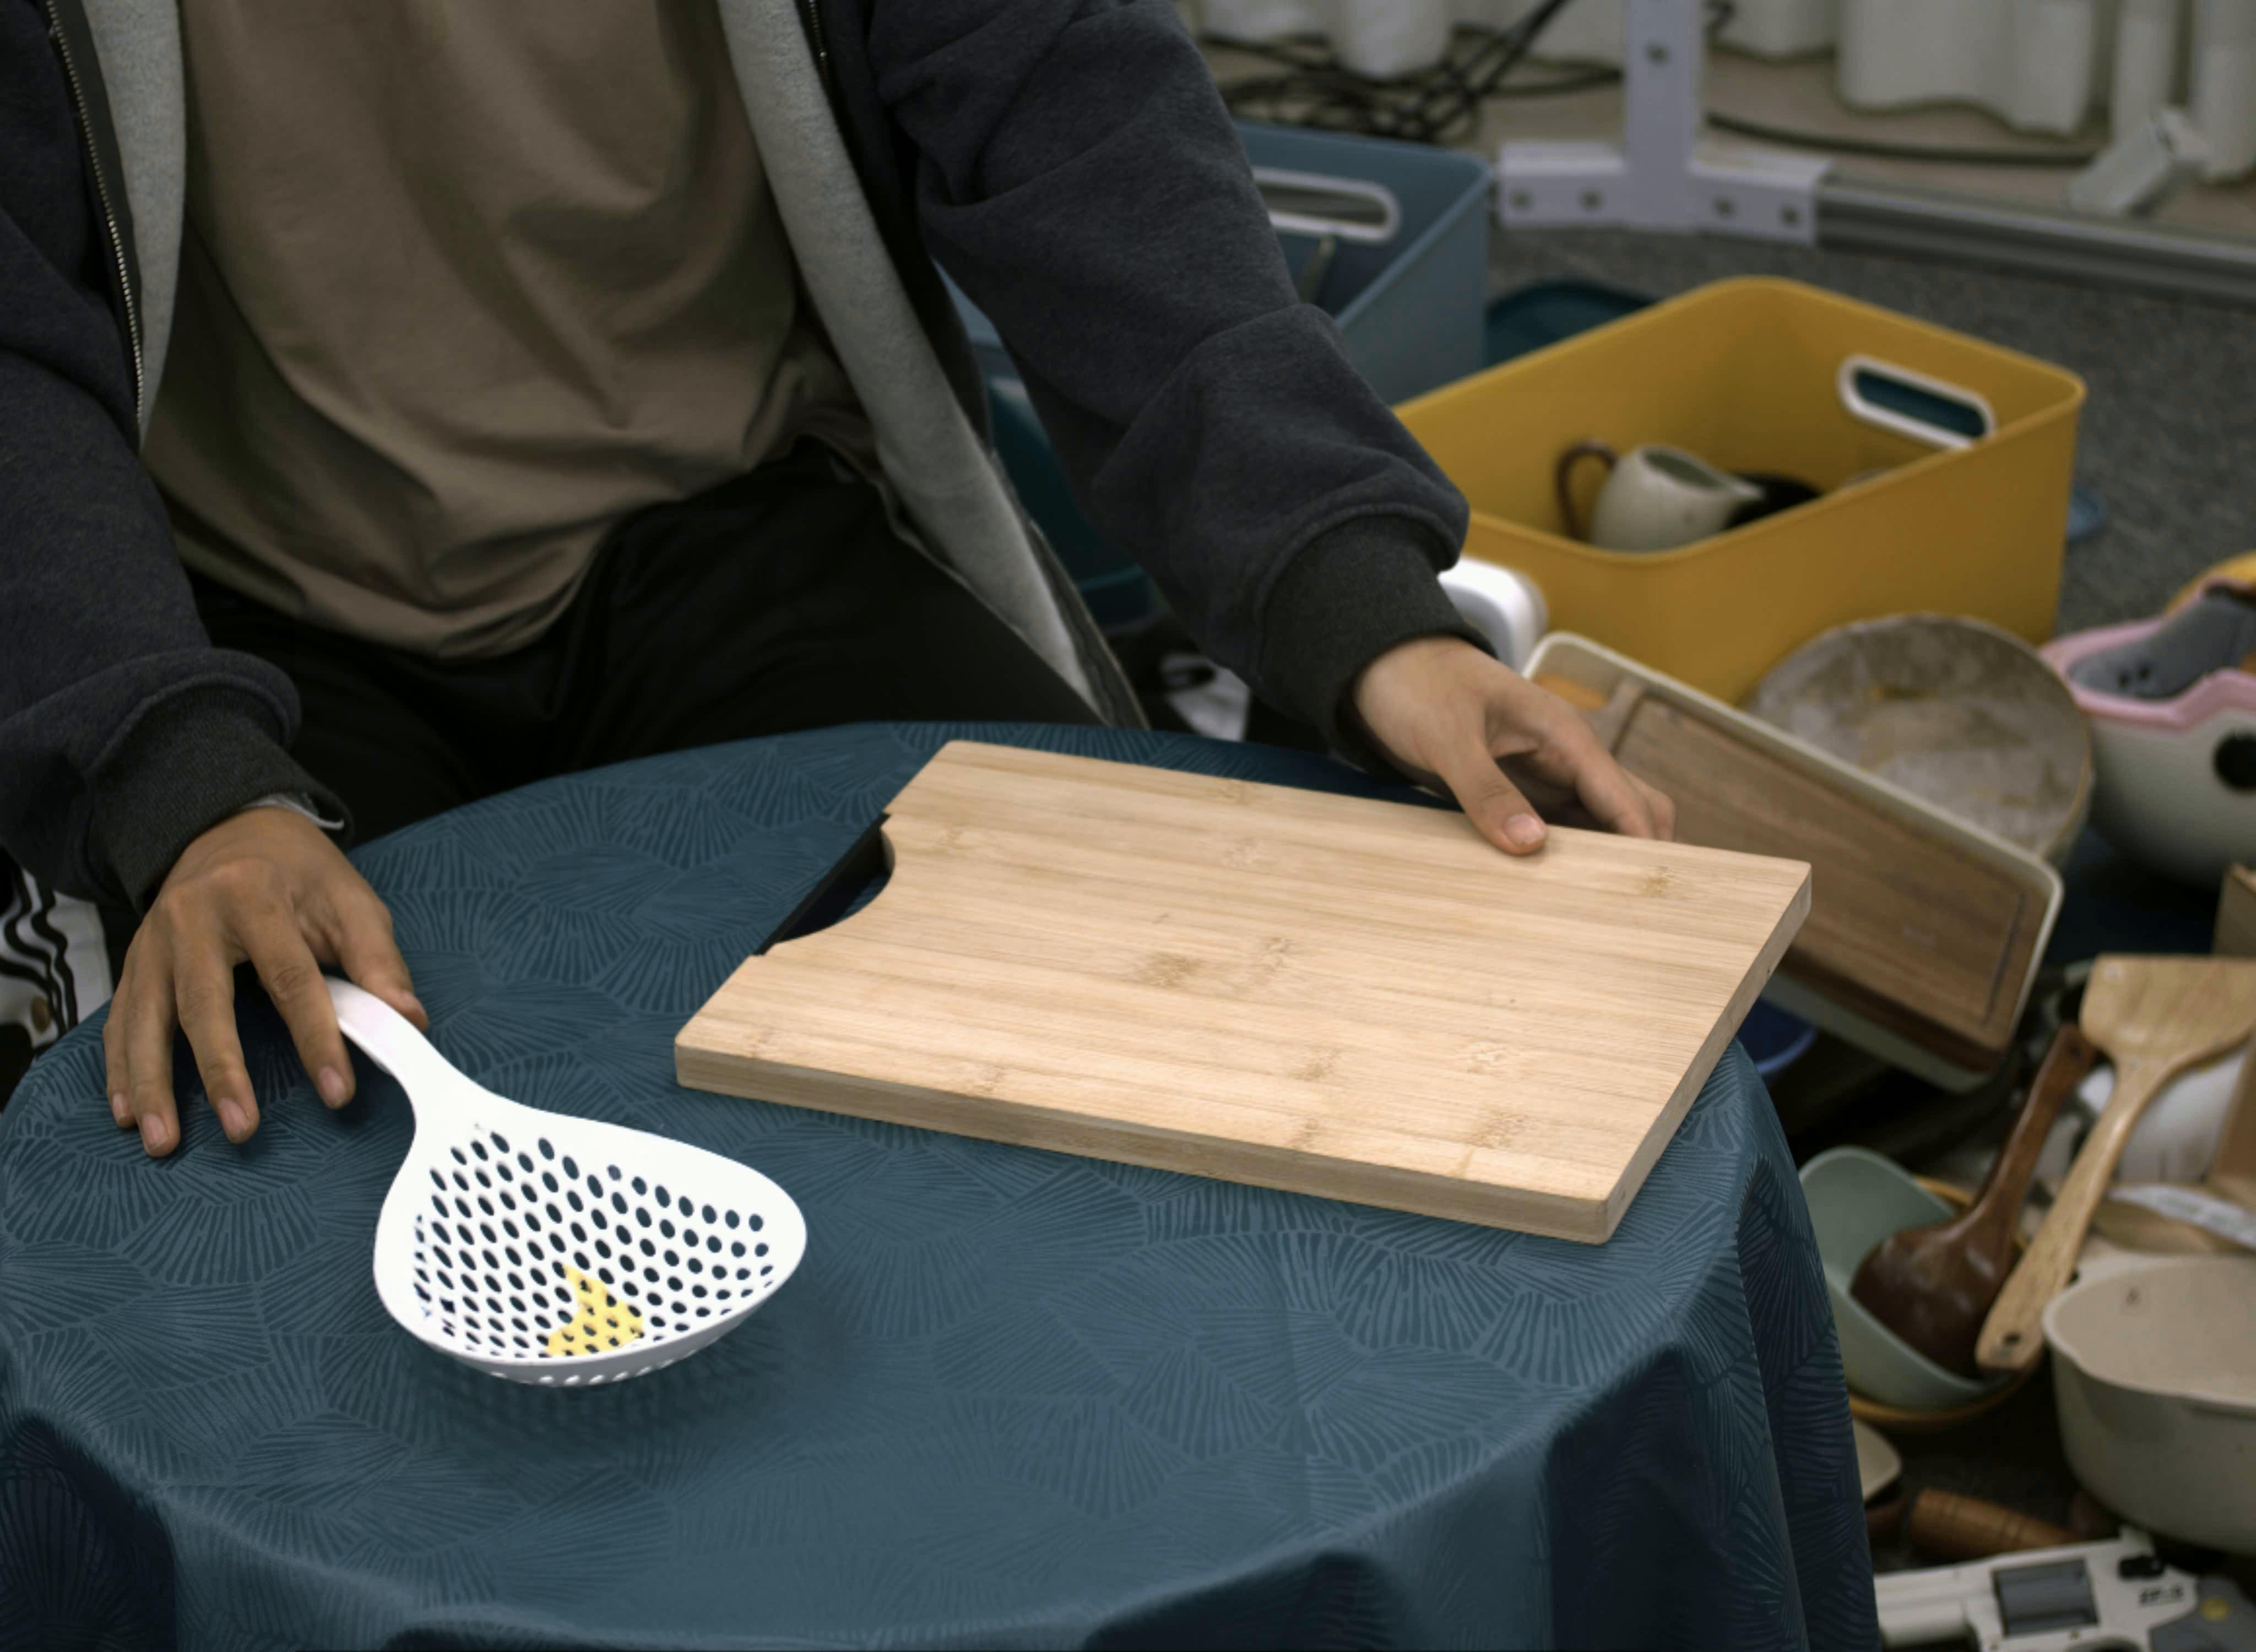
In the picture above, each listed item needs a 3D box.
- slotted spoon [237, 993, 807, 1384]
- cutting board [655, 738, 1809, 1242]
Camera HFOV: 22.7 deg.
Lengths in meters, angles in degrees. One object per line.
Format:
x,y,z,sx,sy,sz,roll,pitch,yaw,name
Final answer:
-0.223,0.107,1.869,0.137,0.050,0.349,-19,31,-24,slotted spoon
0.040,0.052,1.975,0.346,0.023,0.255,8,29,20,cutting board
